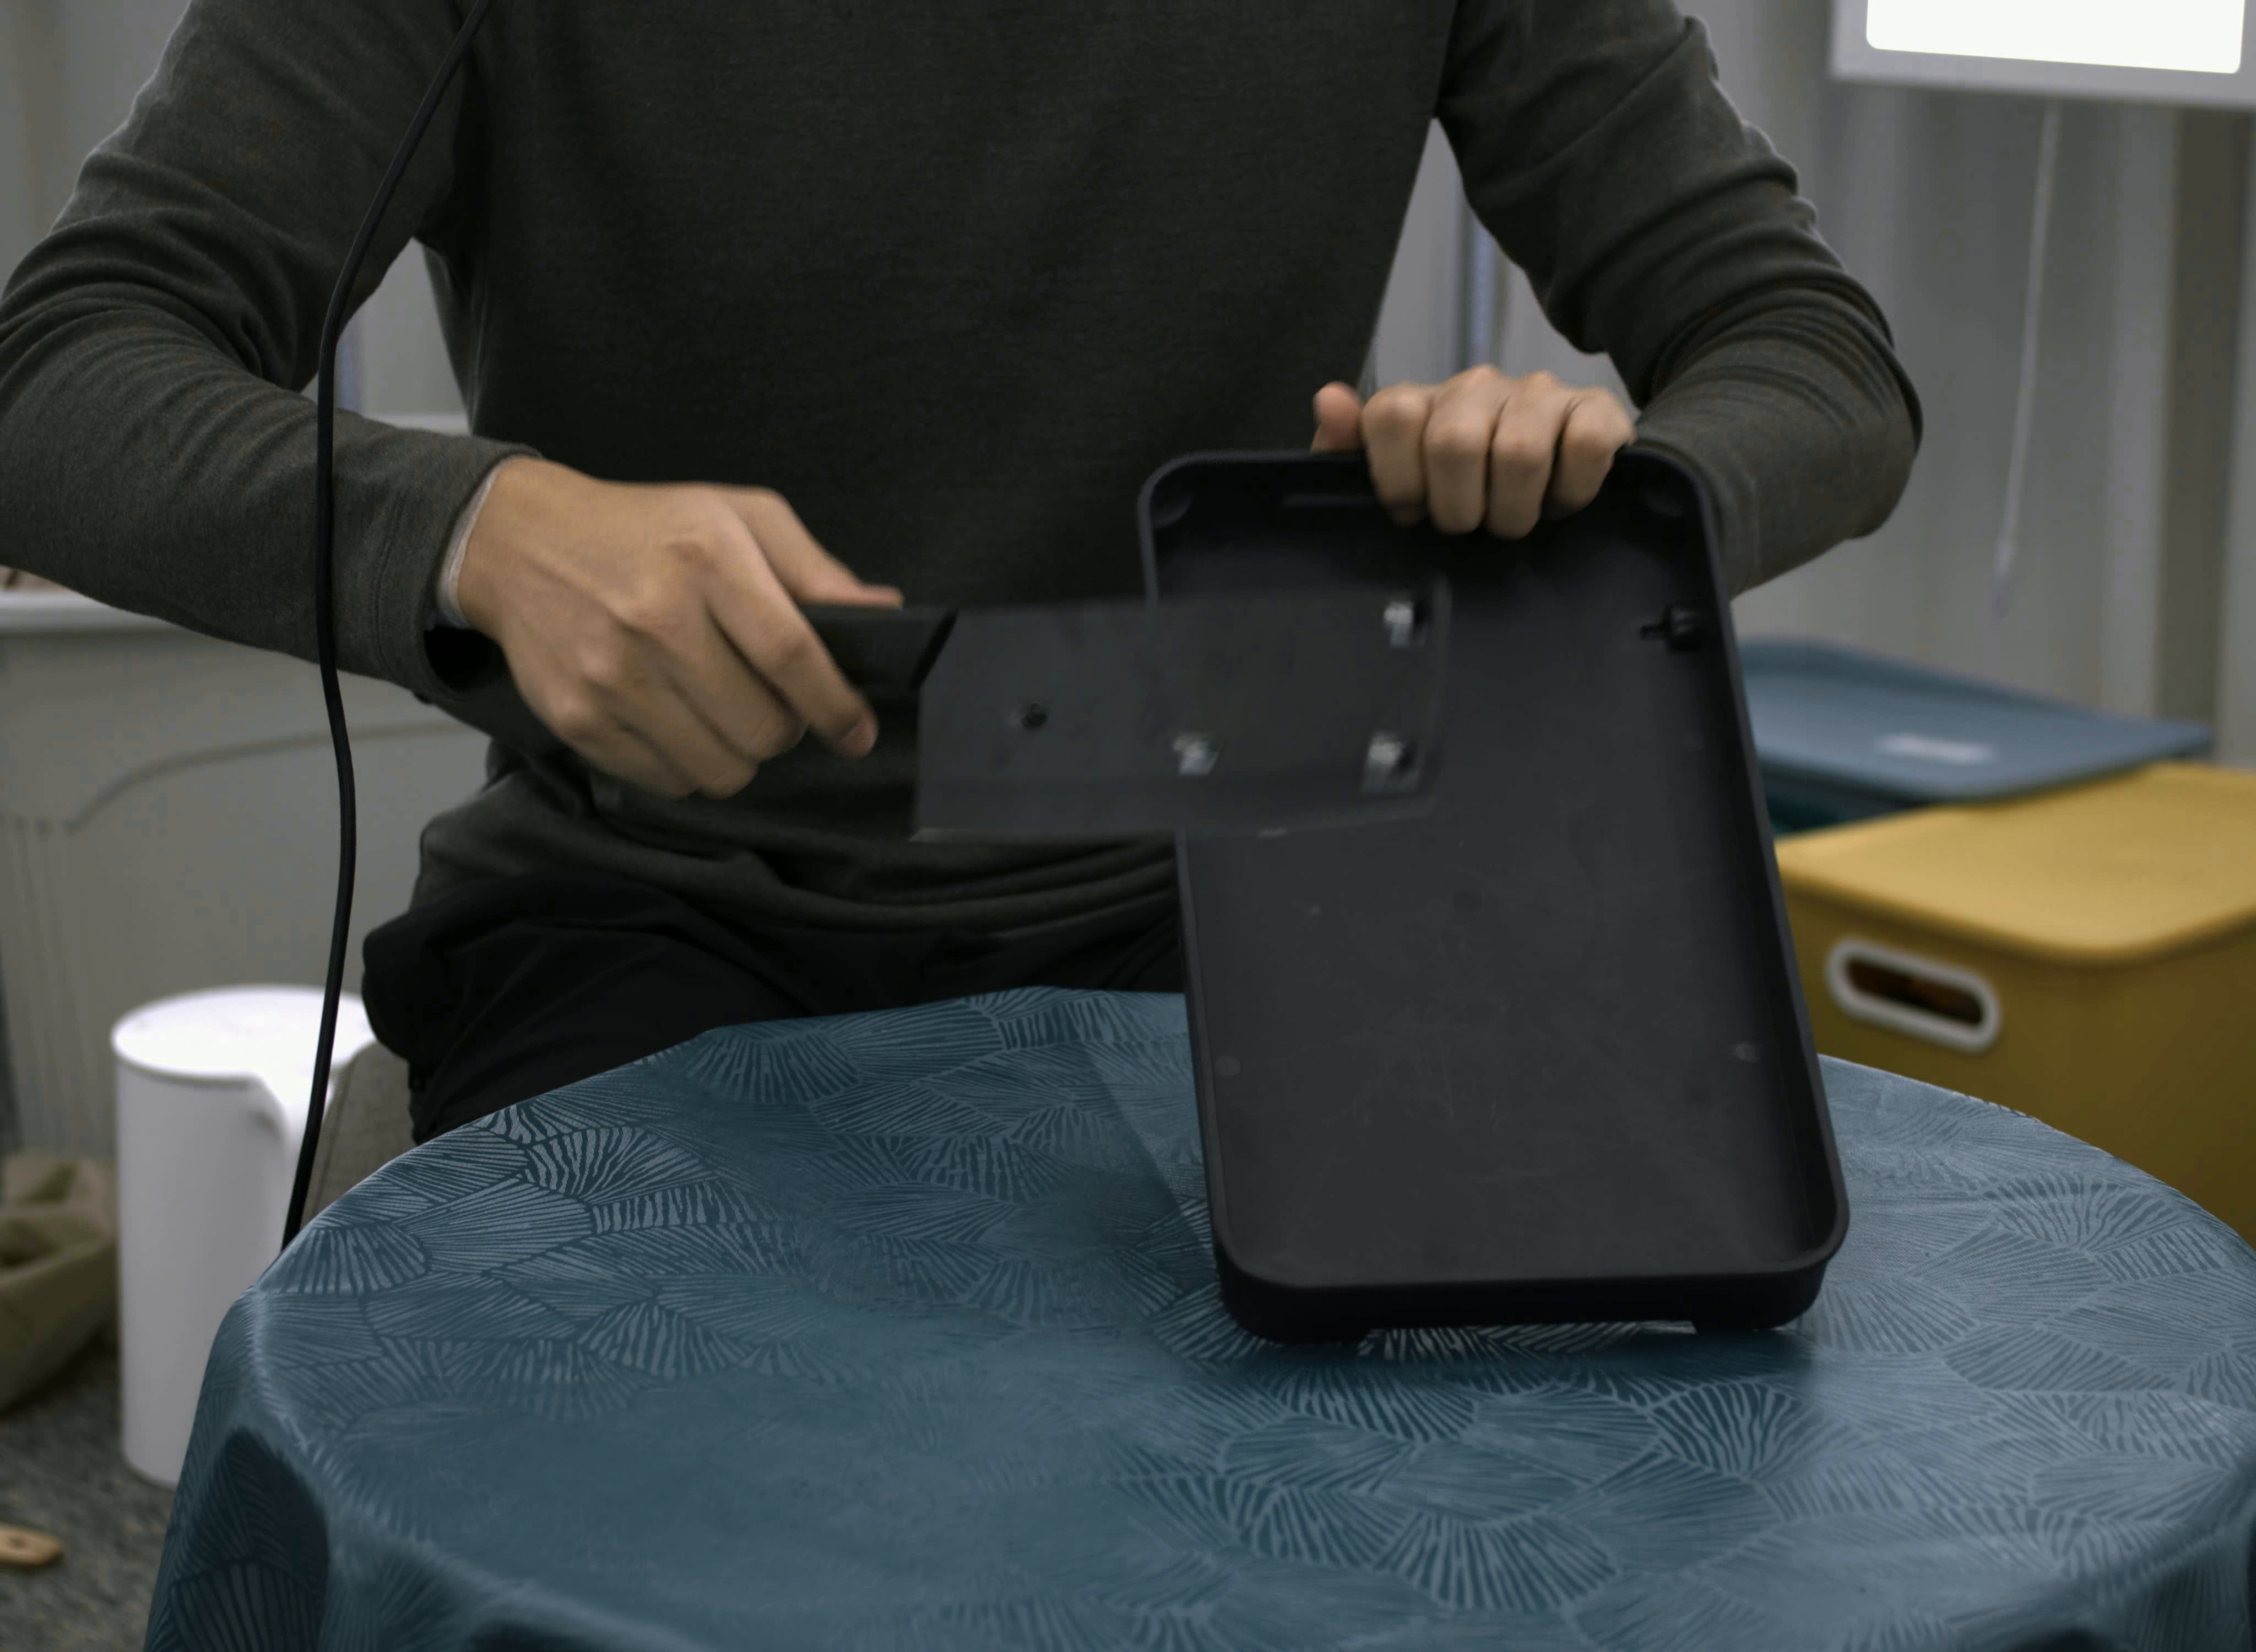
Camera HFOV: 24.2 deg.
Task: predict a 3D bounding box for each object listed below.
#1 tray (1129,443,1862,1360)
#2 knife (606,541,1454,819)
[{"bbox_3d":[0.104,0.016,1.585,0.184,0.037,0.315,-2,53,-7],"label":"tray"},{"bbox_3d":[-0.033,-0.041,1.500,0.299,0.081,0.021,2,-1,36],"label":"knife"}]
